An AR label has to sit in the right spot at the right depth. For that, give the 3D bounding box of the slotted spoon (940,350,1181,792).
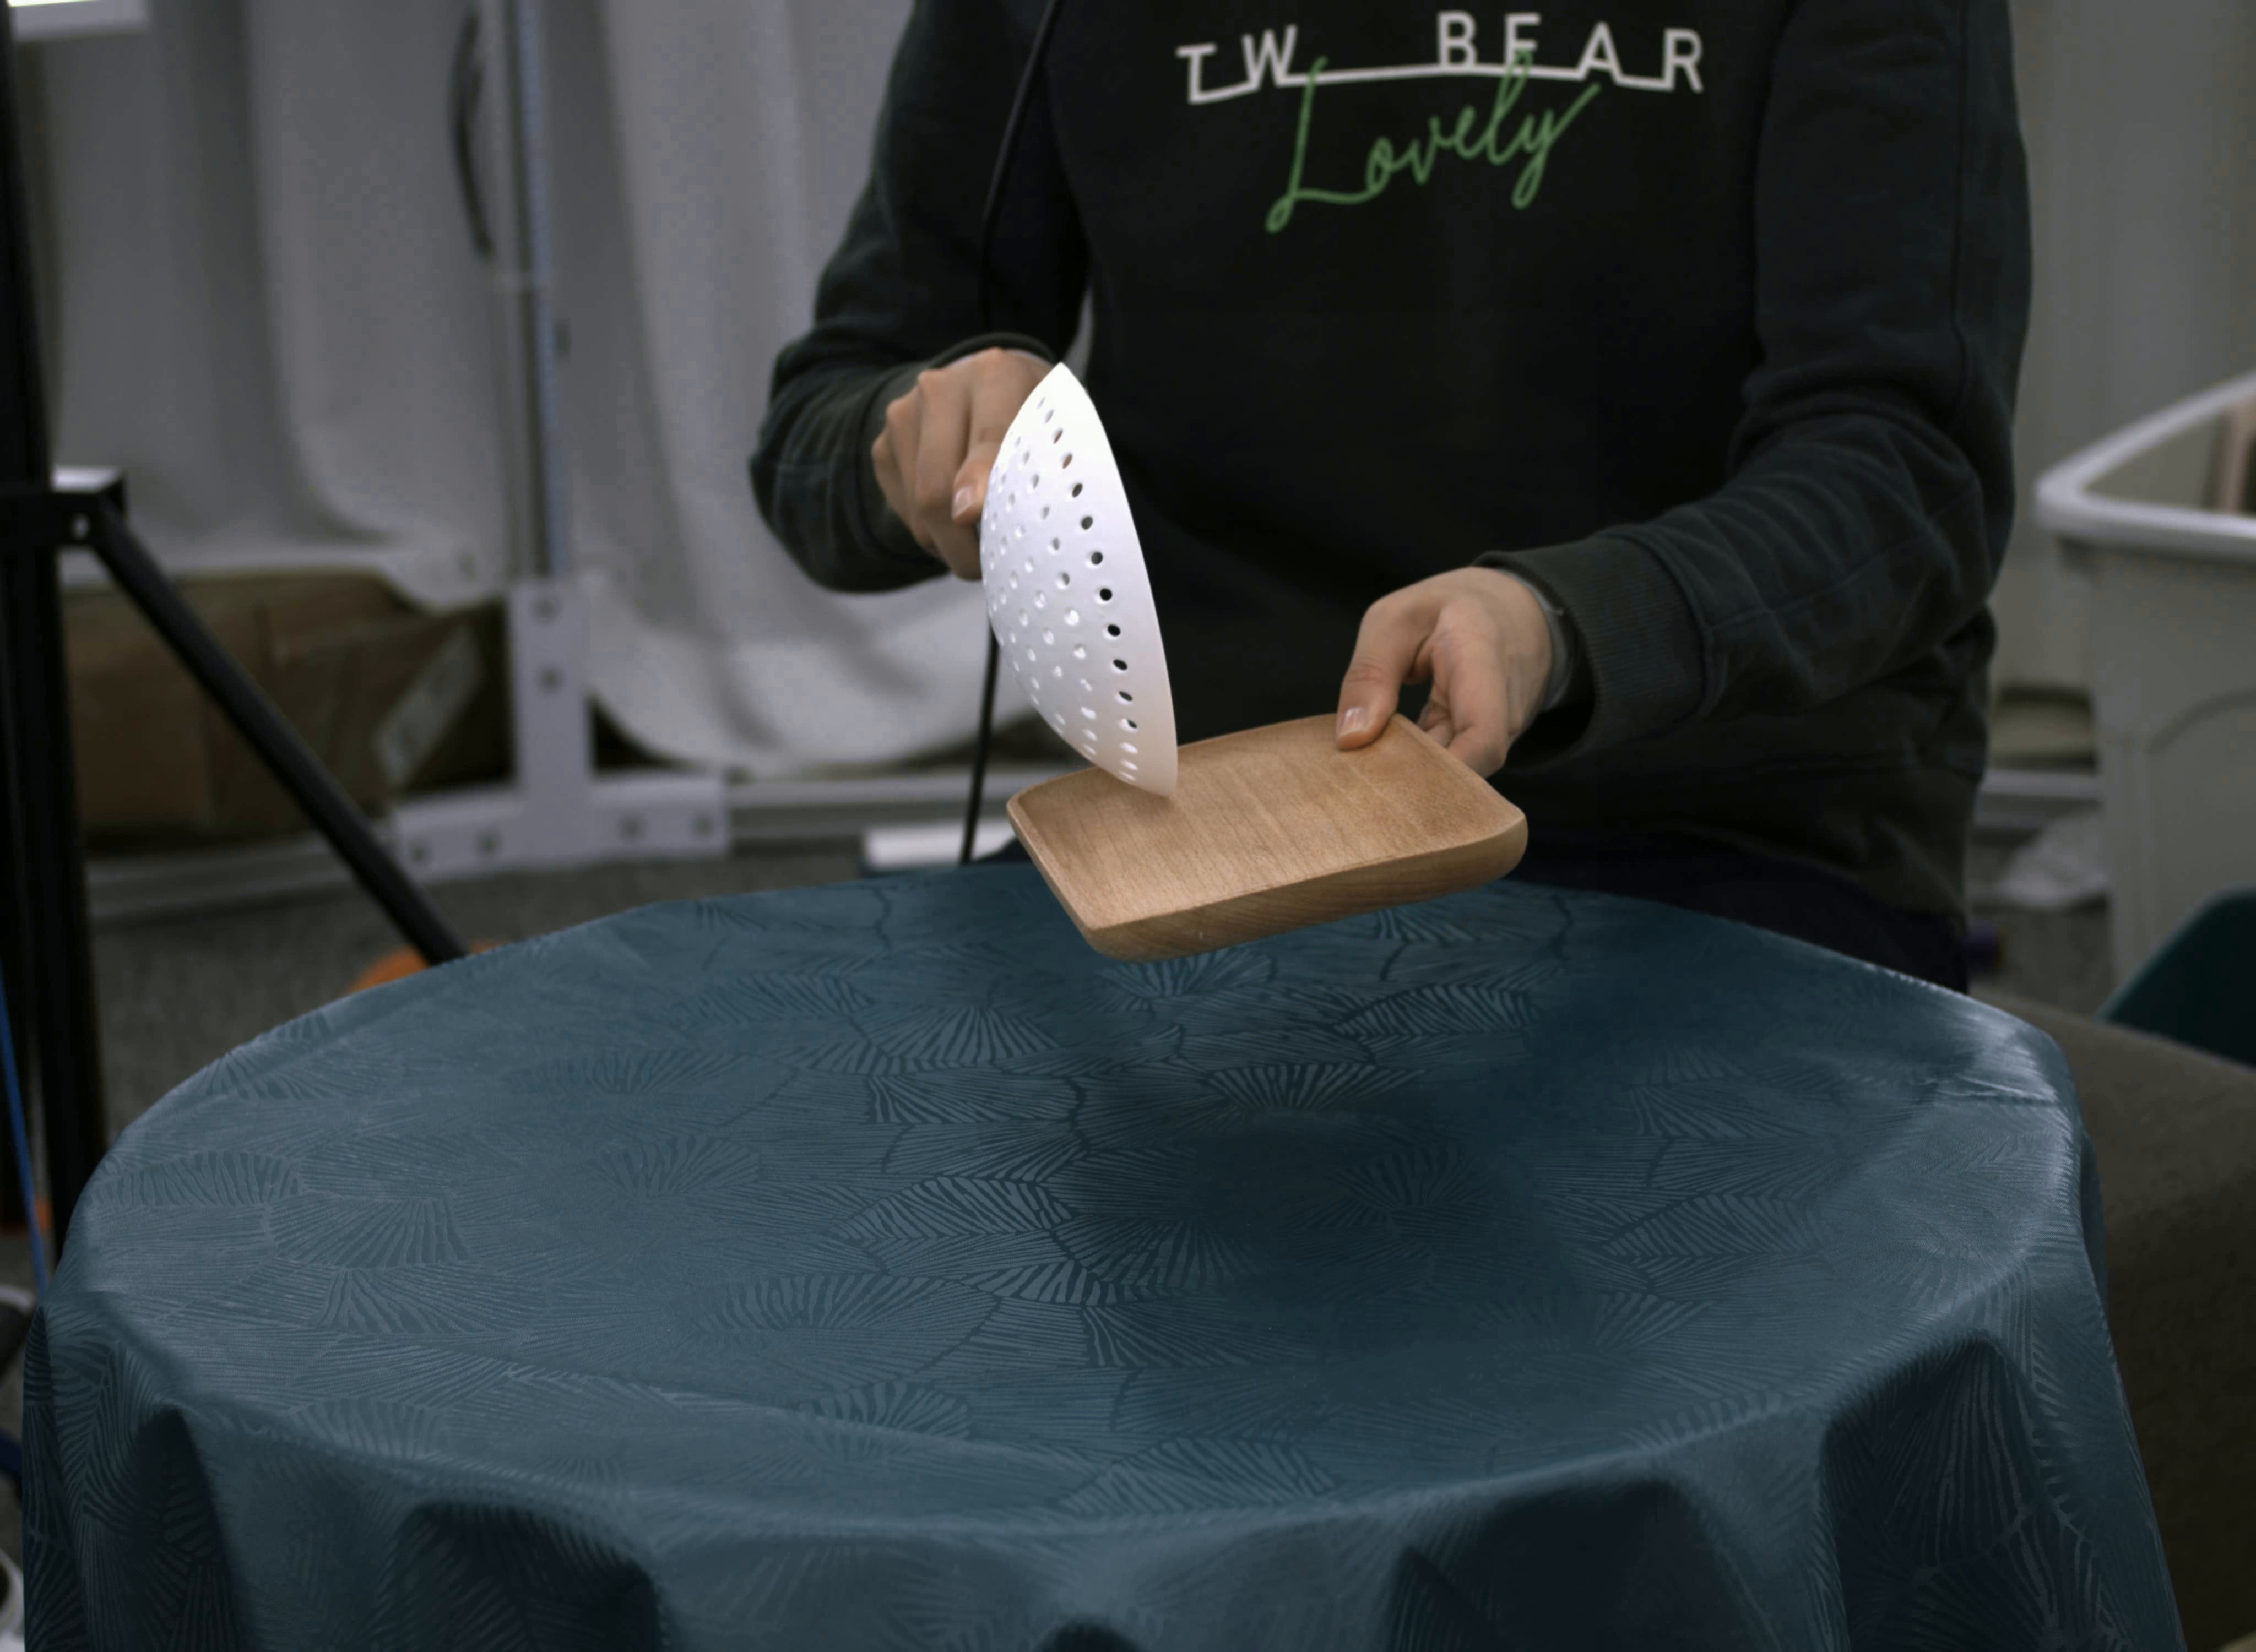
[{"bbox_3d":[-0.028,-0.091,1.724,0.045,0.136,0.352,-11,10,-4],"label":"slotted spoon"}]

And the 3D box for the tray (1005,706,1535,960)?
[{"bbox_3d":[0.037,0.000,1.546,0.129,0.023,0.252,-11,9,-5],"label":"tray"}]
